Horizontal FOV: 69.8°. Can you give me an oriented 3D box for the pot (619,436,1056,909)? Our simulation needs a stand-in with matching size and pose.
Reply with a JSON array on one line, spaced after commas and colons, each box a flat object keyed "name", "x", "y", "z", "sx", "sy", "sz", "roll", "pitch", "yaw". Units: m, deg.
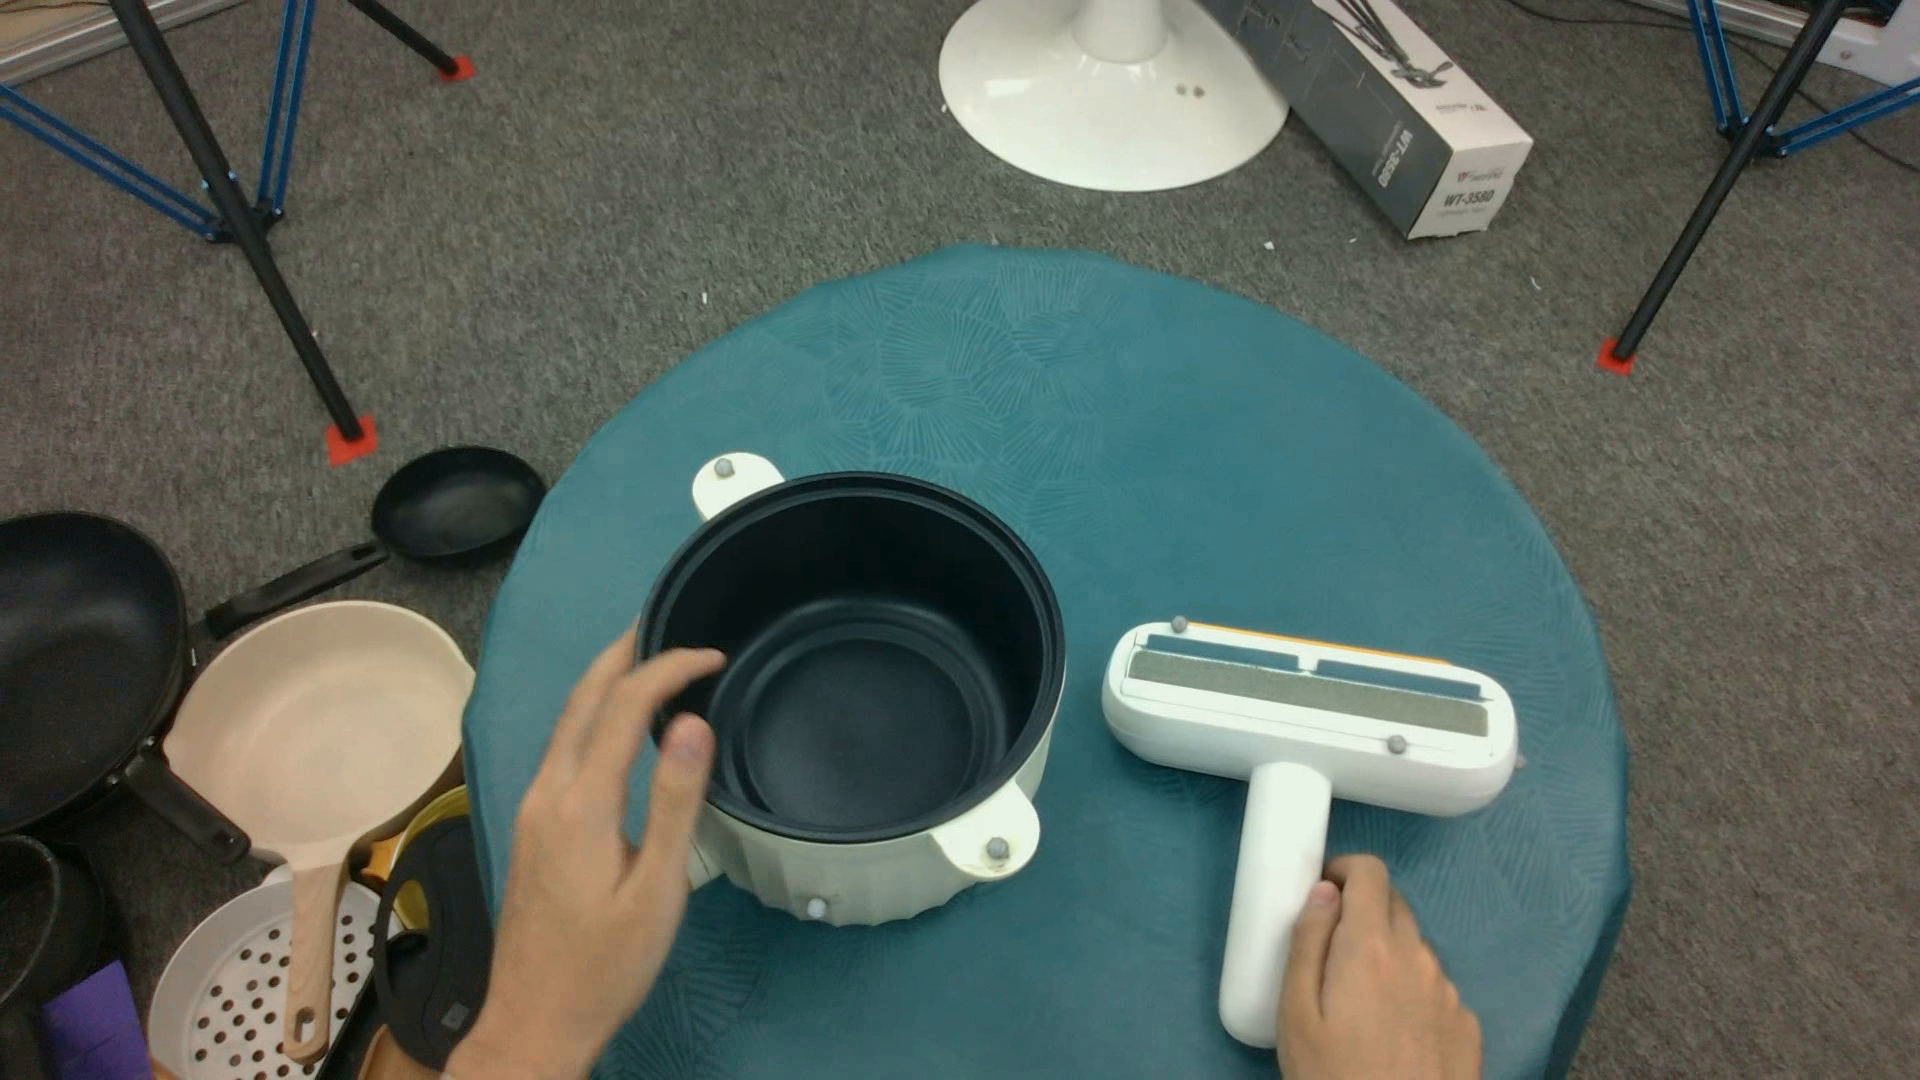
[{"name": "pot", "x": -0.058, "y": 0.075, "z": 0.628, "sx": 0.191, "sy": 0.142, "sz": 0.241, "roll": -28, "pitch": 60, "yaw": -24}]

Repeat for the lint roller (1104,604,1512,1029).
[{"name": "lint roller", "x": 0.147, "y": 0.129, "z": 0.645, "sx": 0.193, "sy": 0.074, "sz": 0.193, "roll": 14, "pitch": 57, "yaw": 13}]
